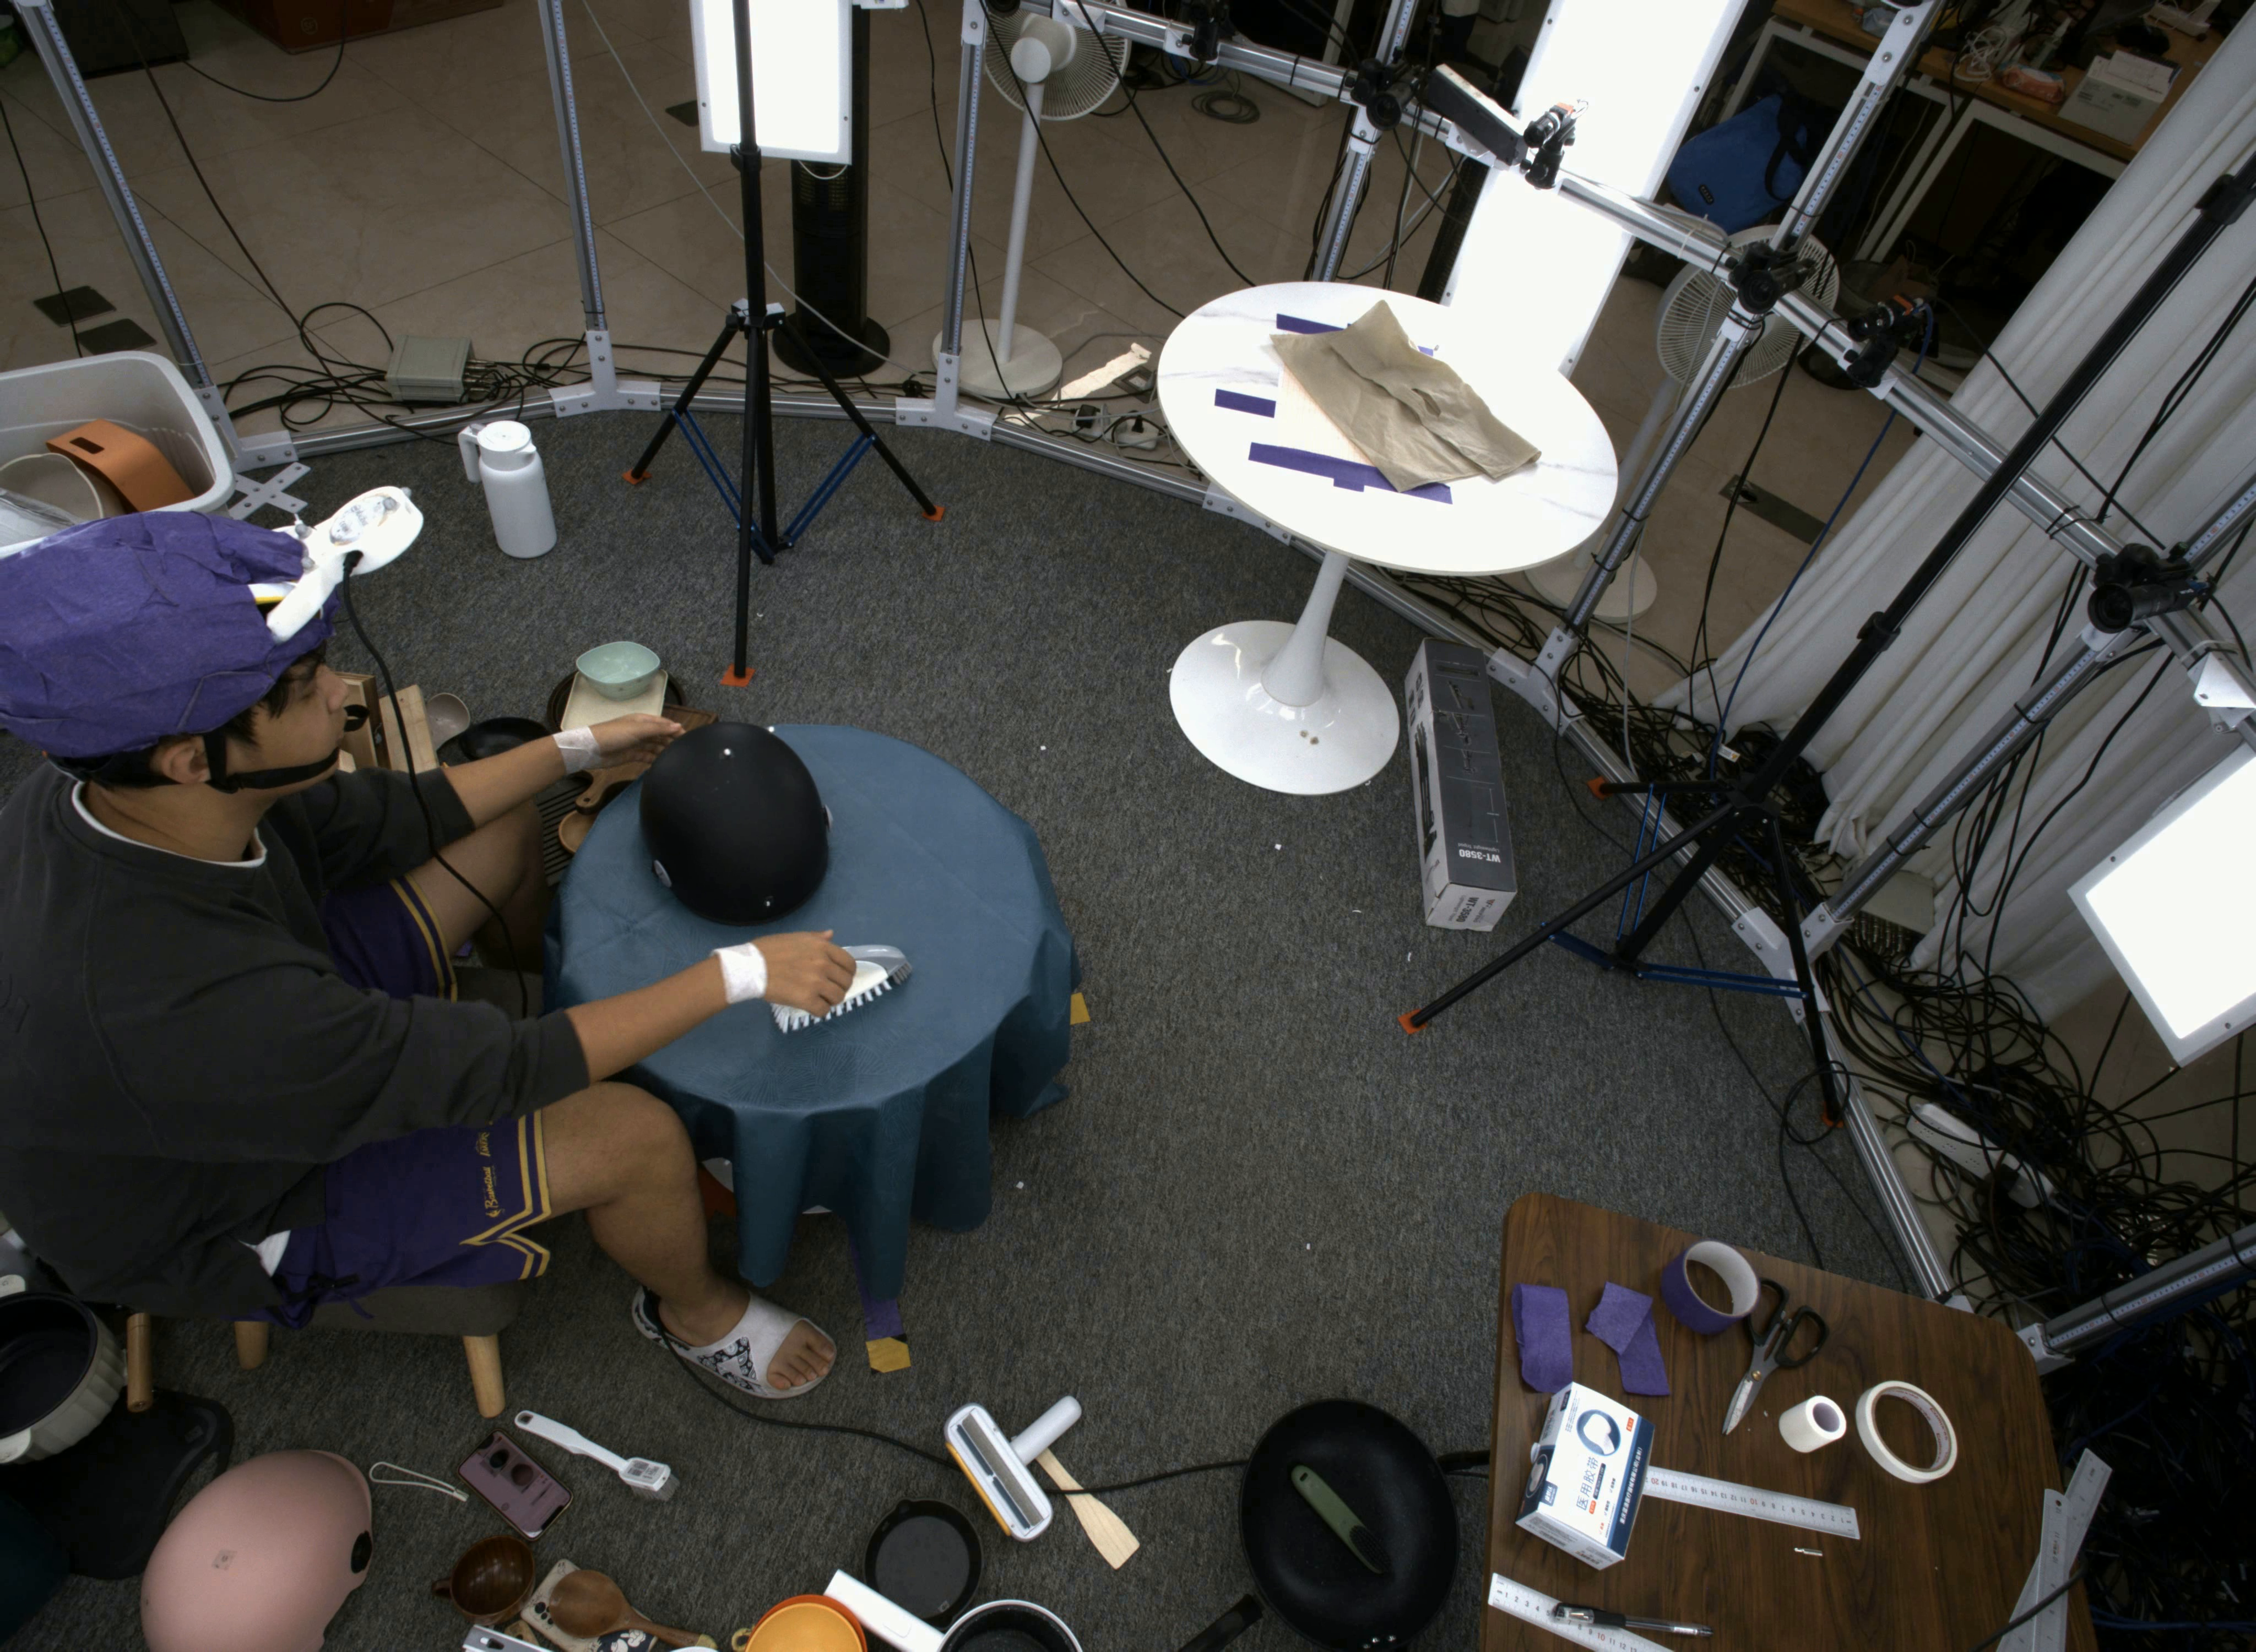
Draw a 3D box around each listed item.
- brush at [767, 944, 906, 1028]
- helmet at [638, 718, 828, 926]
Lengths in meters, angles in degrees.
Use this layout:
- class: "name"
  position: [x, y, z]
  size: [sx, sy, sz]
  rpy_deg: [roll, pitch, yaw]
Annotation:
- class: "brush"
  position: [-0.345, 0.173, 1.560]
  size: [0.176, 0.096, 0.060]
  rpy_deg: [-17, 60, -27]
- class: "helmet"
  position: [-0.500, -0.027, 1.626]
  size: [0.231, 0.170, 0.267]
  rpy_deg: [-20, 62, -25]
